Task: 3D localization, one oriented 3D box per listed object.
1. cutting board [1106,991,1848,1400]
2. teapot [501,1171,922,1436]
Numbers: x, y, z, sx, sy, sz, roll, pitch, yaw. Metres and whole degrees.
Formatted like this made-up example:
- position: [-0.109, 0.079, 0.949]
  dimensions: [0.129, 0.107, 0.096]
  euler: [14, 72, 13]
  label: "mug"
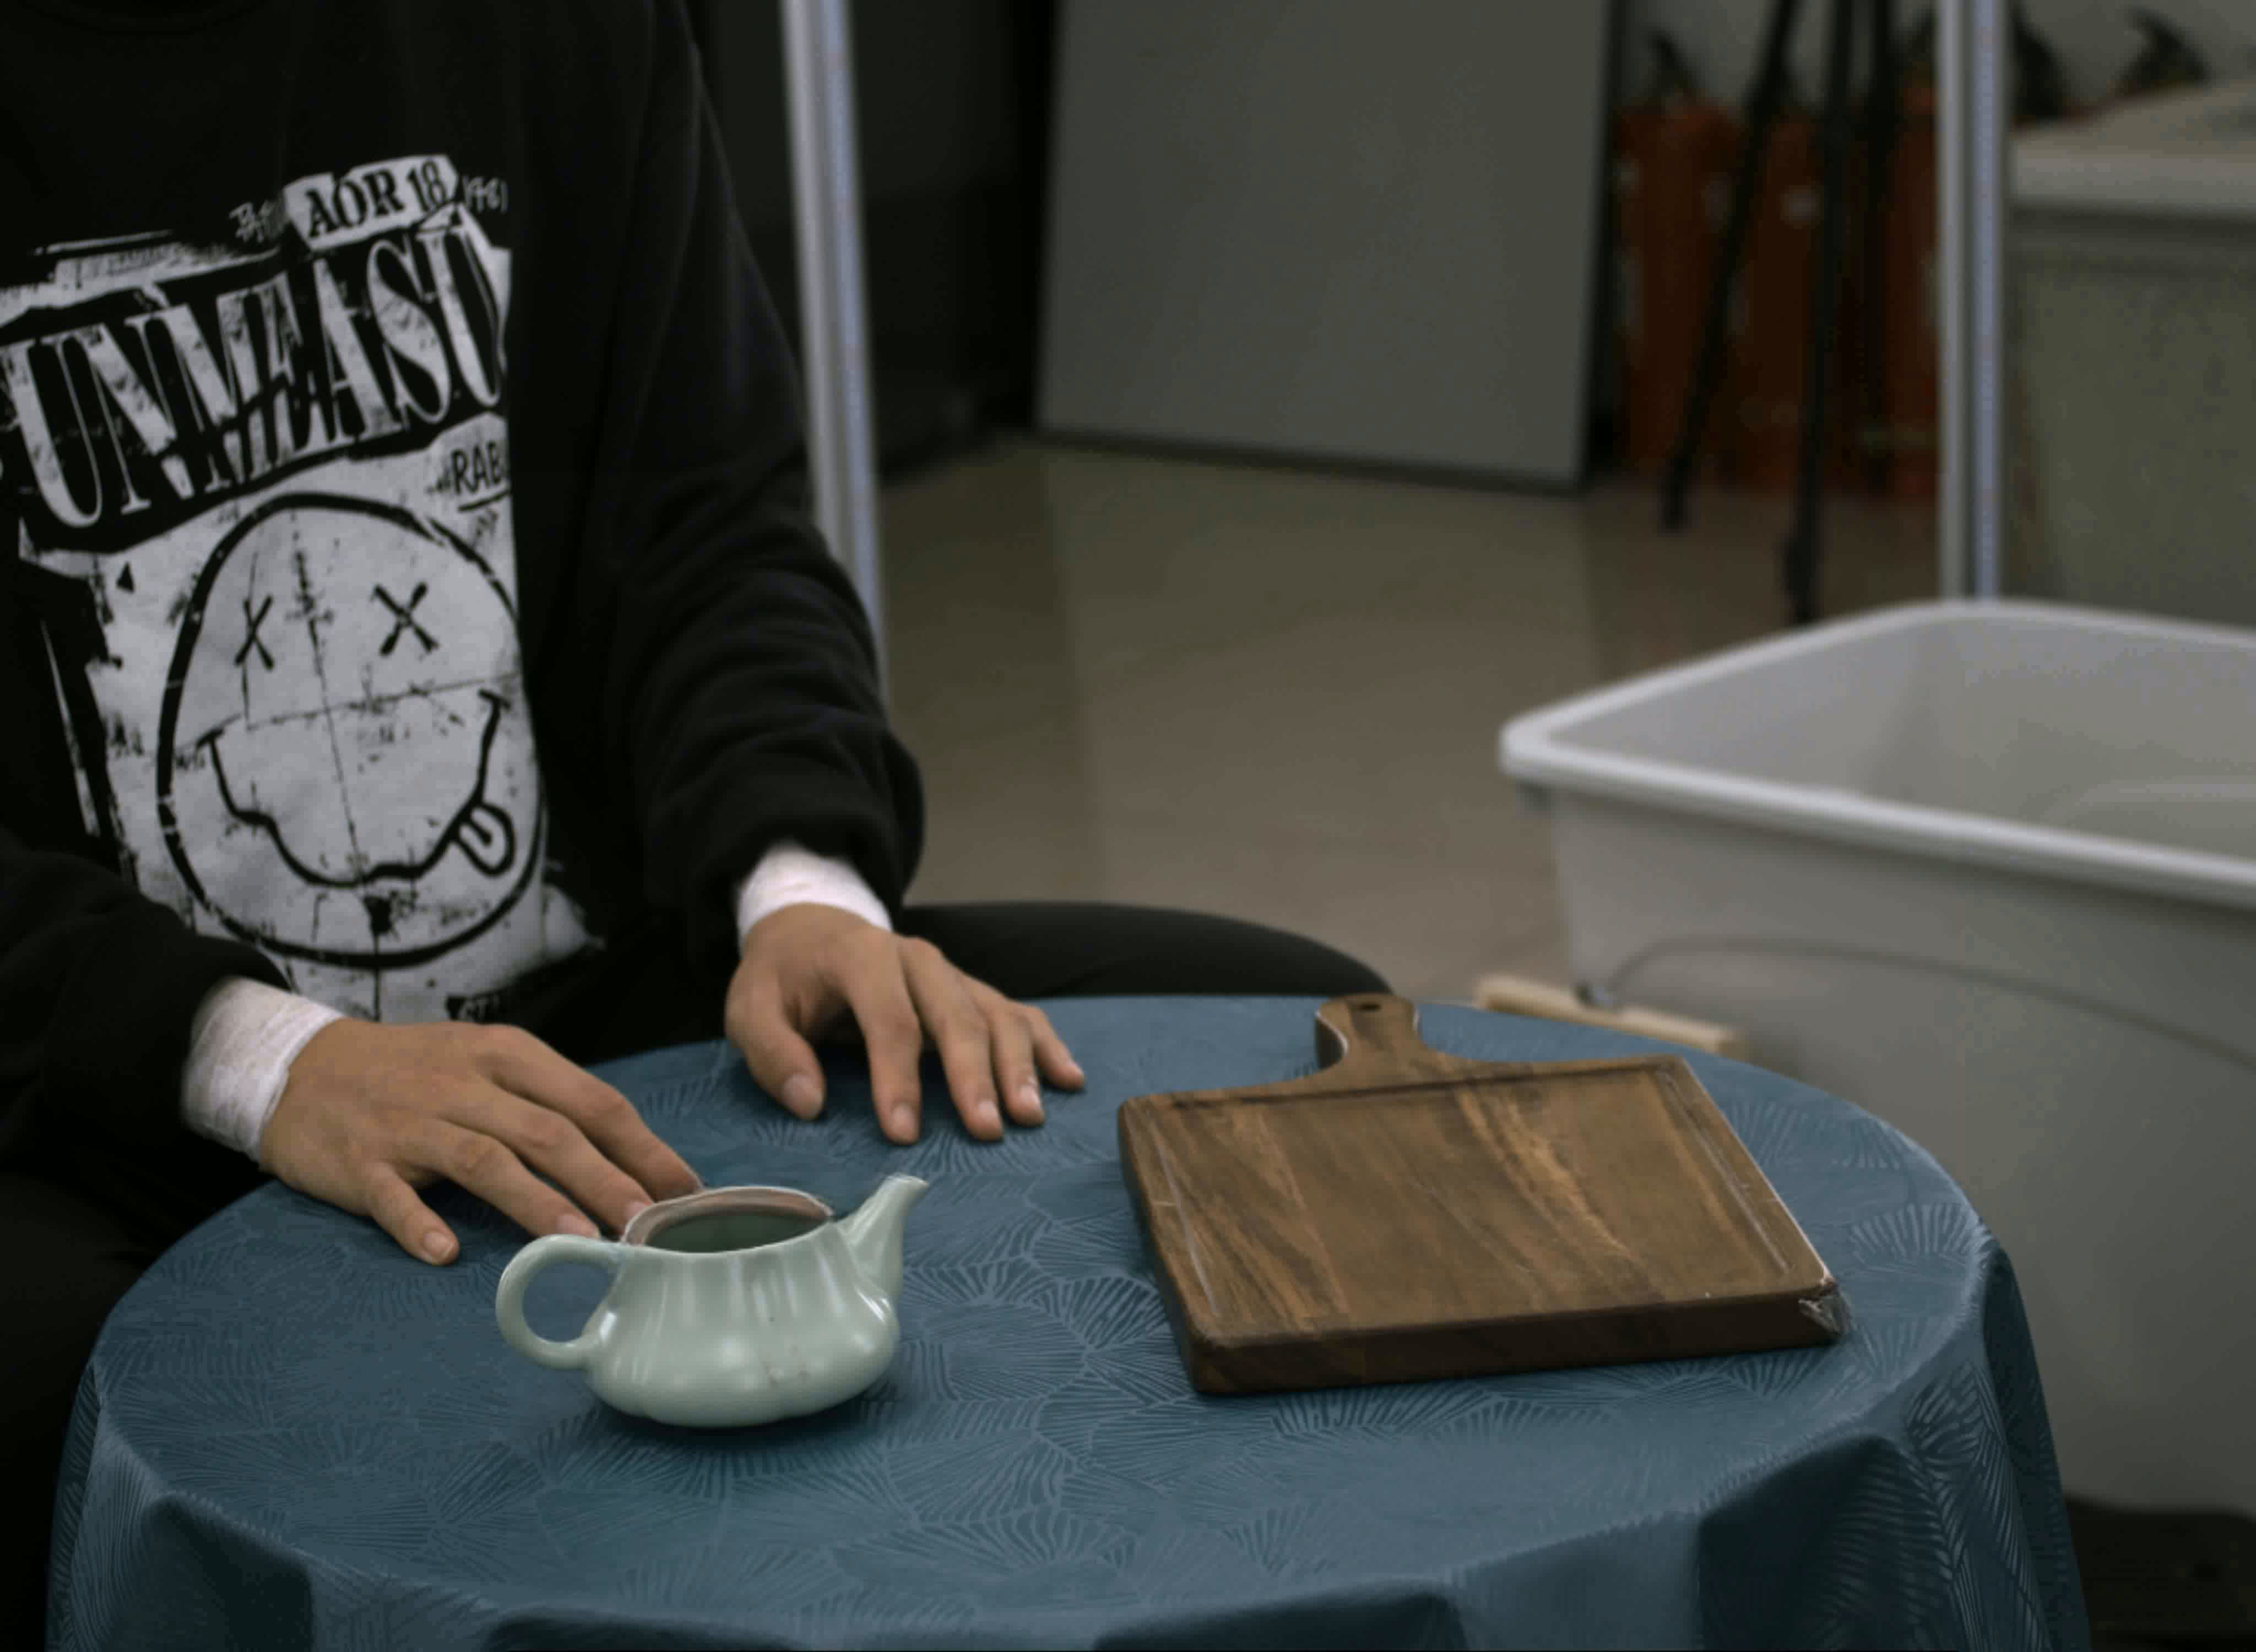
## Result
- position: [0.098, 0.110, 1.744]
  dimensions: [0.198, 0.023, 0.353]
  euler: [-5, 14, -5]
  label: "cutting board"
- position: [-0.120, 0.143, 1.598]
  dimensions: [0.134, 0.062, 0.097]
  euler: [-10, 16, -23]
  label: "teapot"
